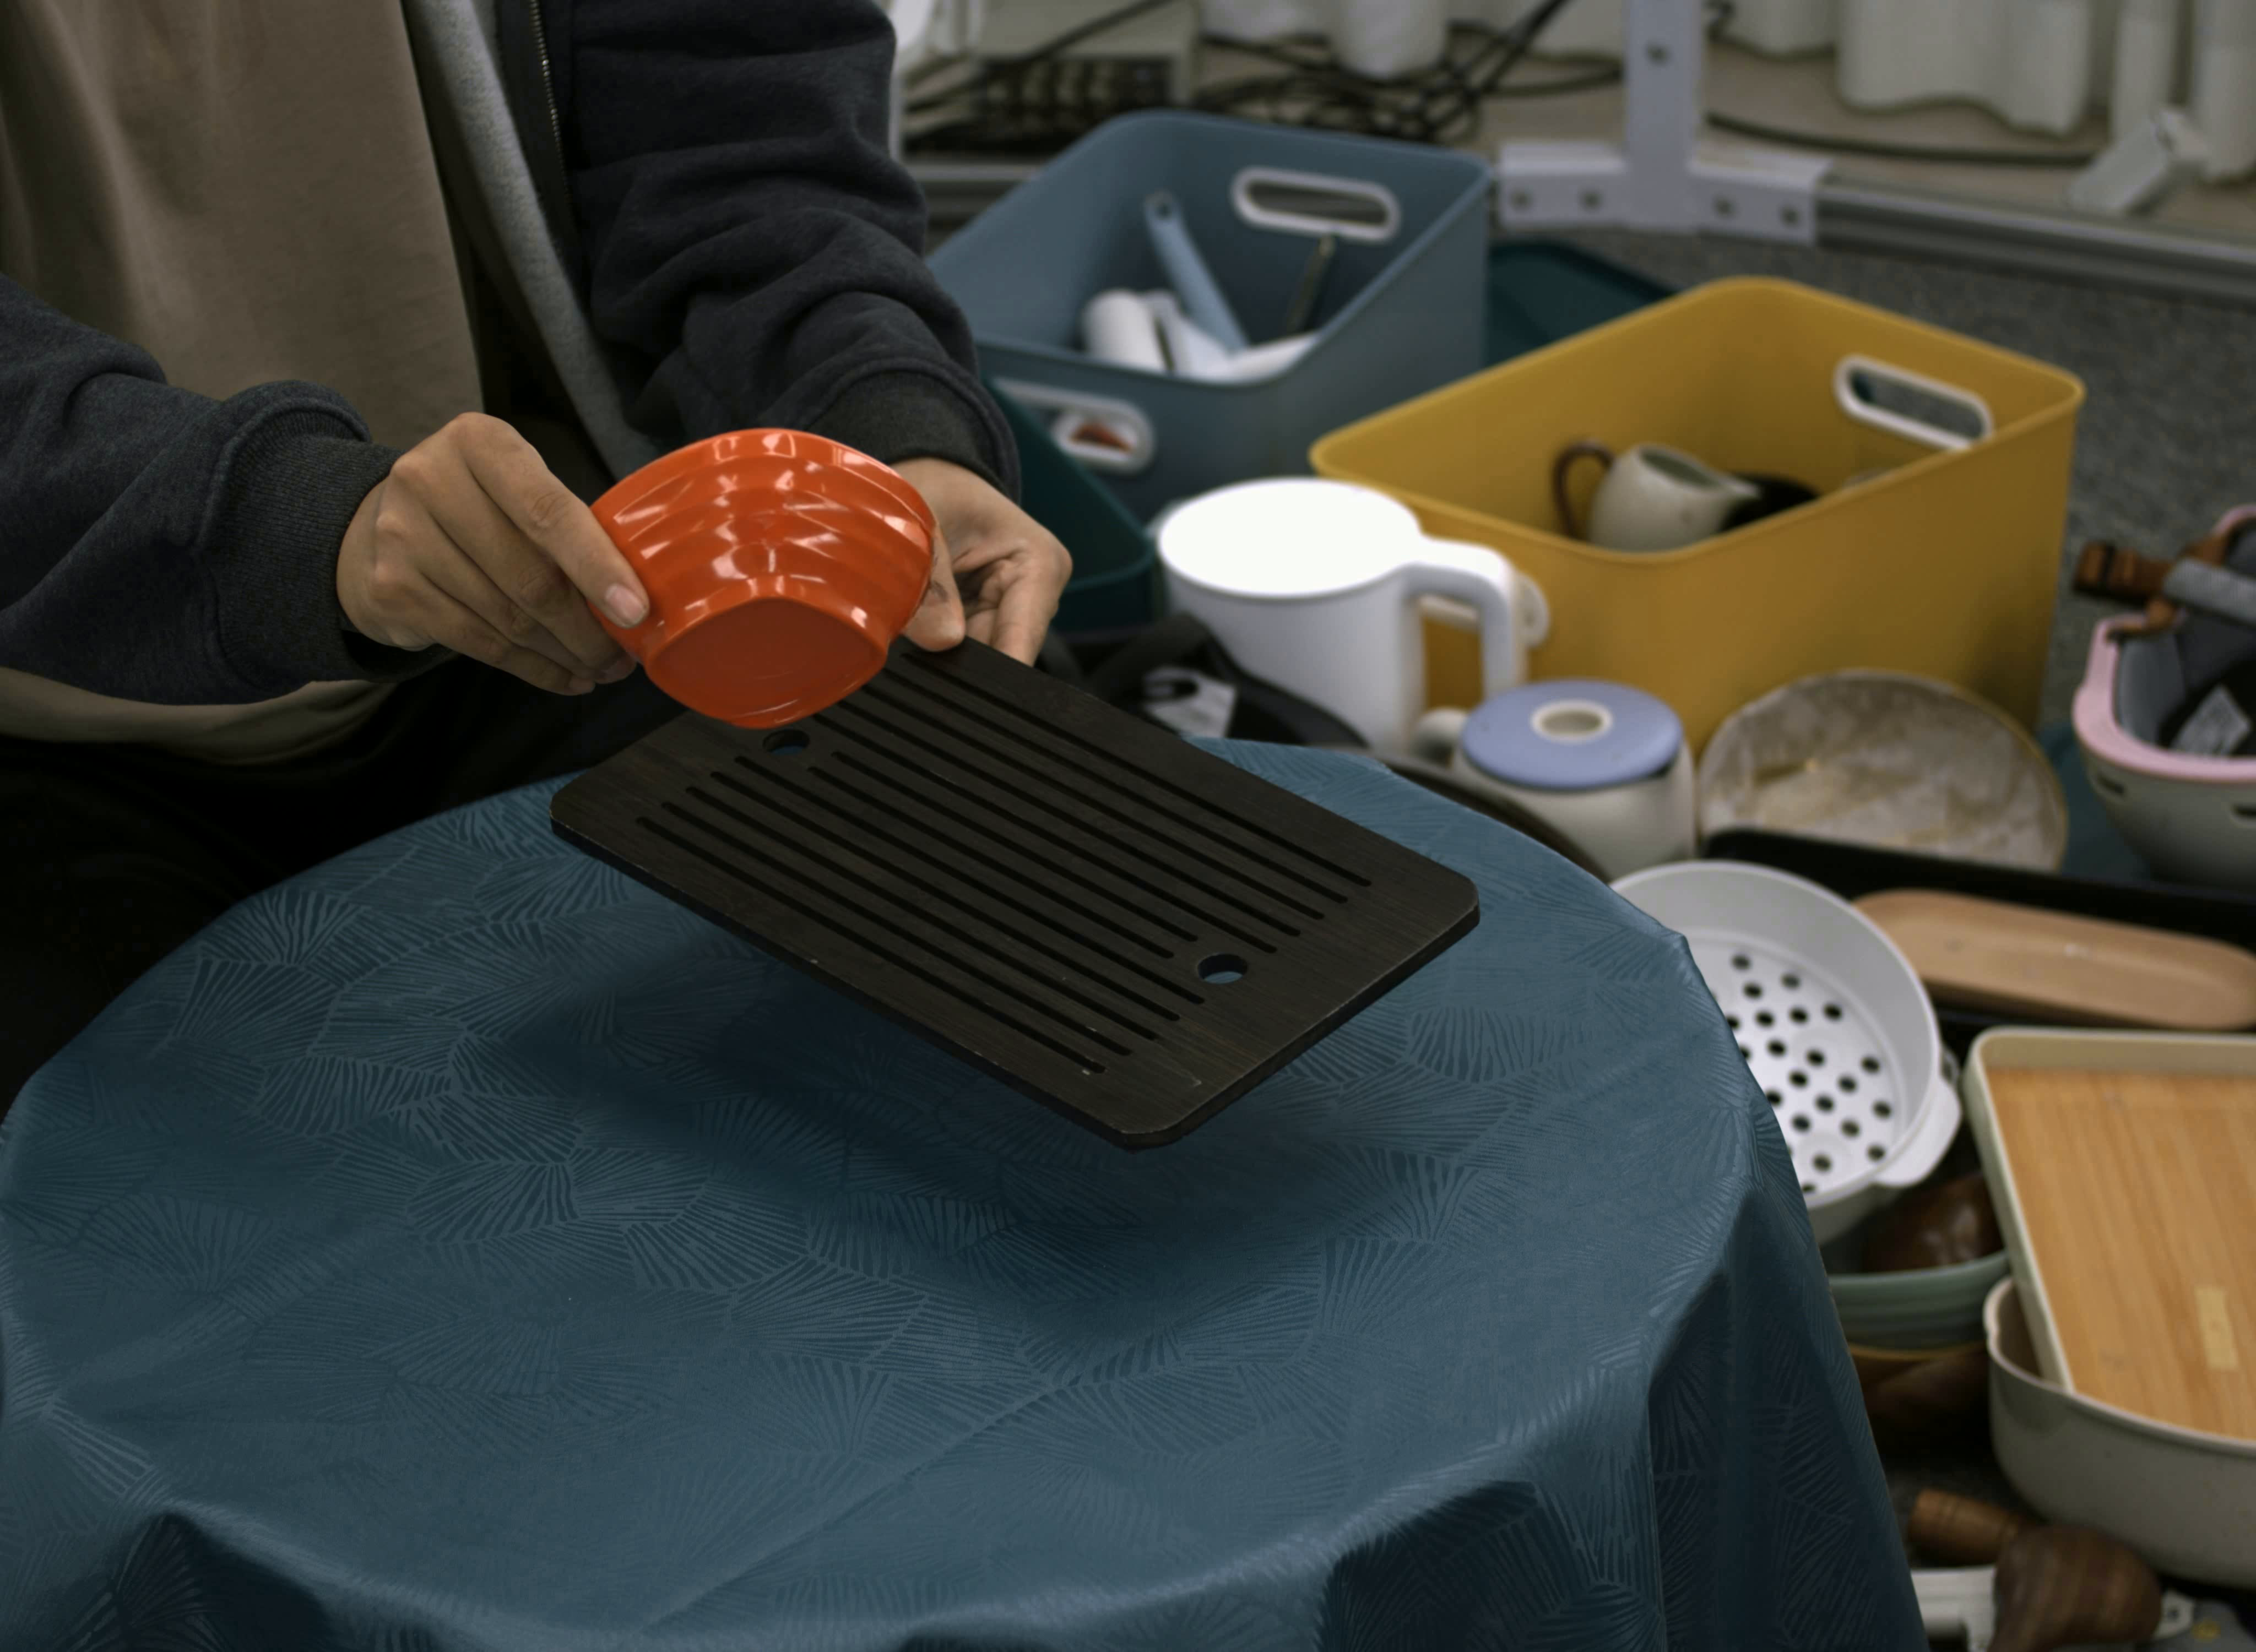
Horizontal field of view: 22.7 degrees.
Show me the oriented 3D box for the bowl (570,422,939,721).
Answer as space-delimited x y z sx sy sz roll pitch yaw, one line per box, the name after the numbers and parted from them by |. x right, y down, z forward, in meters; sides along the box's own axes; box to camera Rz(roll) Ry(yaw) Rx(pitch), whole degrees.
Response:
-0.117 -0.074 1.789 0.118 0.117 0.052 -5 59 -5 | bowl

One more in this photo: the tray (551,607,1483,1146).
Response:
-0.041 0.013 1.923 0.306 0.018 0.172 26 46 38 | tray
